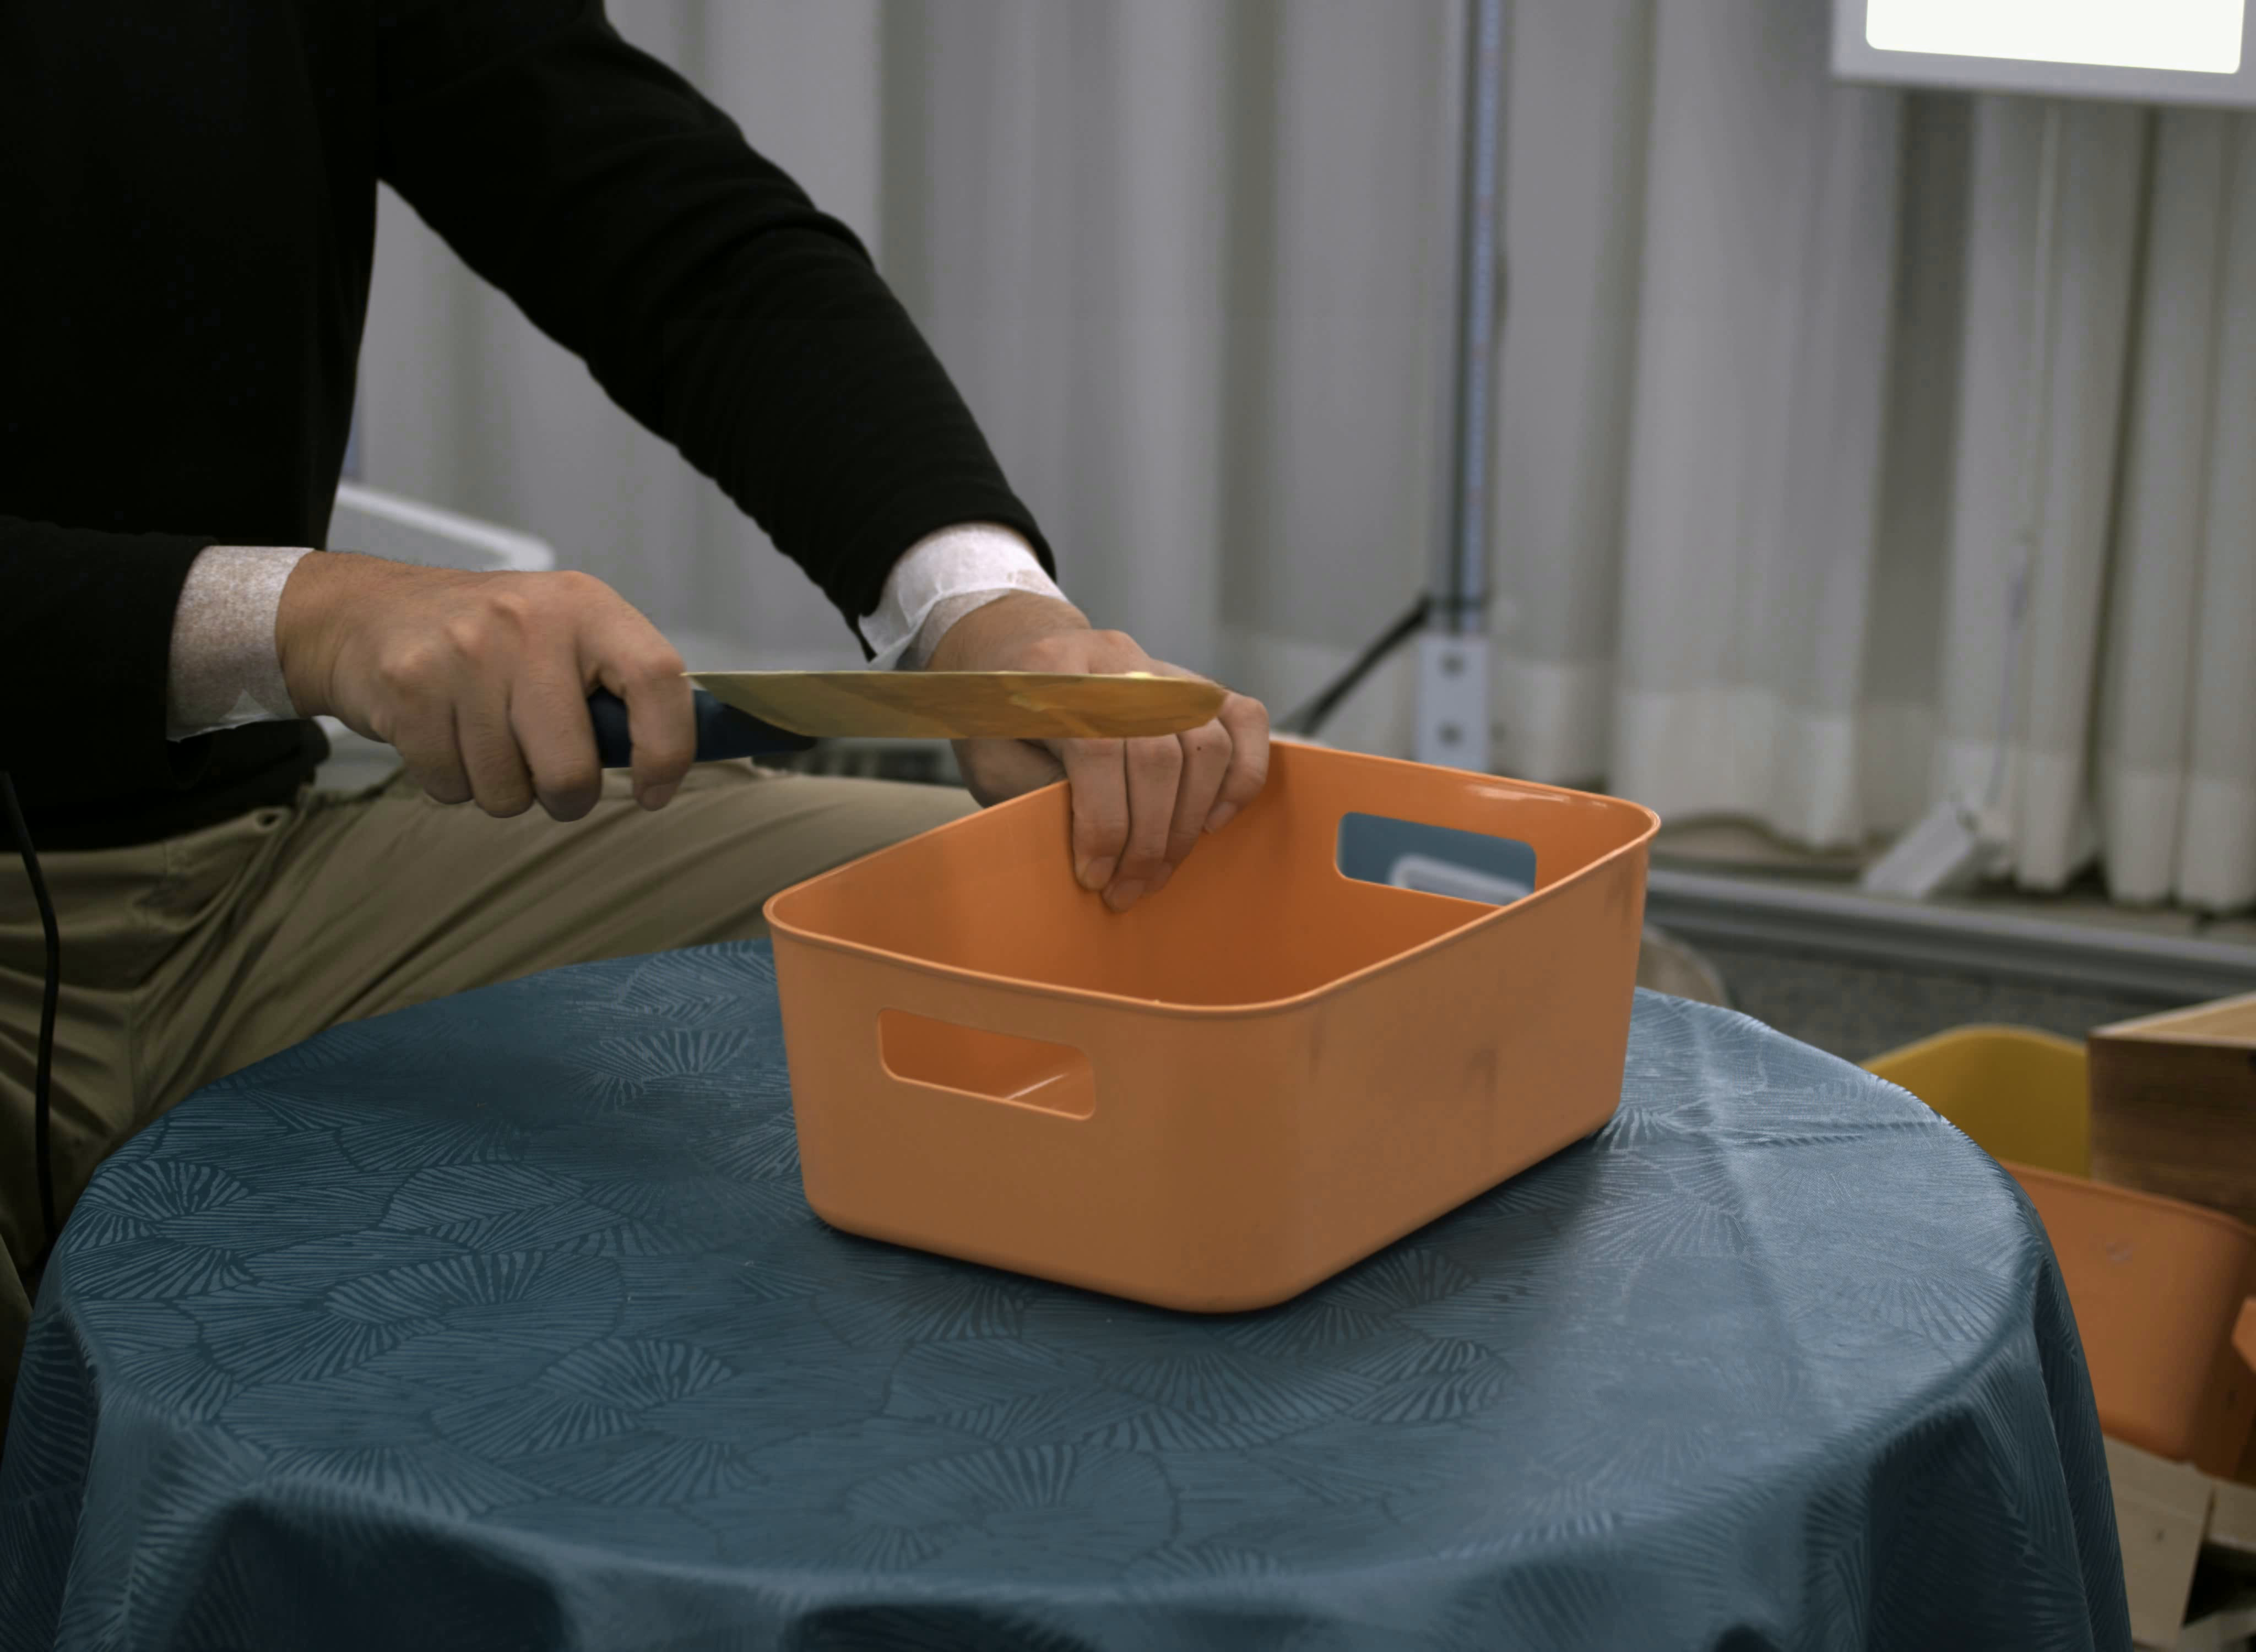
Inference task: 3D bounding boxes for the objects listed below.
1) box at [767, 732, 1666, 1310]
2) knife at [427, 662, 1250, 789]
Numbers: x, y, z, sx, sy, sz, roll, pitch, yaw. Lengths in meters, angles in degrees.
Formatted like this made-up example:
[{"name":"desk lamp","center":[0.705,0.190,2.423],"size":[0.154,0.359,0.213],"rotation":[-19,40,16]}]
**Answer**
[{"name":"box","center":[0.029,0.056,1.628],"size":[0.197,0.103,0.274],"rotation":[11,19,31]},{"name":"knife","center":[-0.096,-0.035,1.621],"size":[0.287,0.027,0.082],"rotation":[-3,-19,23]}]
